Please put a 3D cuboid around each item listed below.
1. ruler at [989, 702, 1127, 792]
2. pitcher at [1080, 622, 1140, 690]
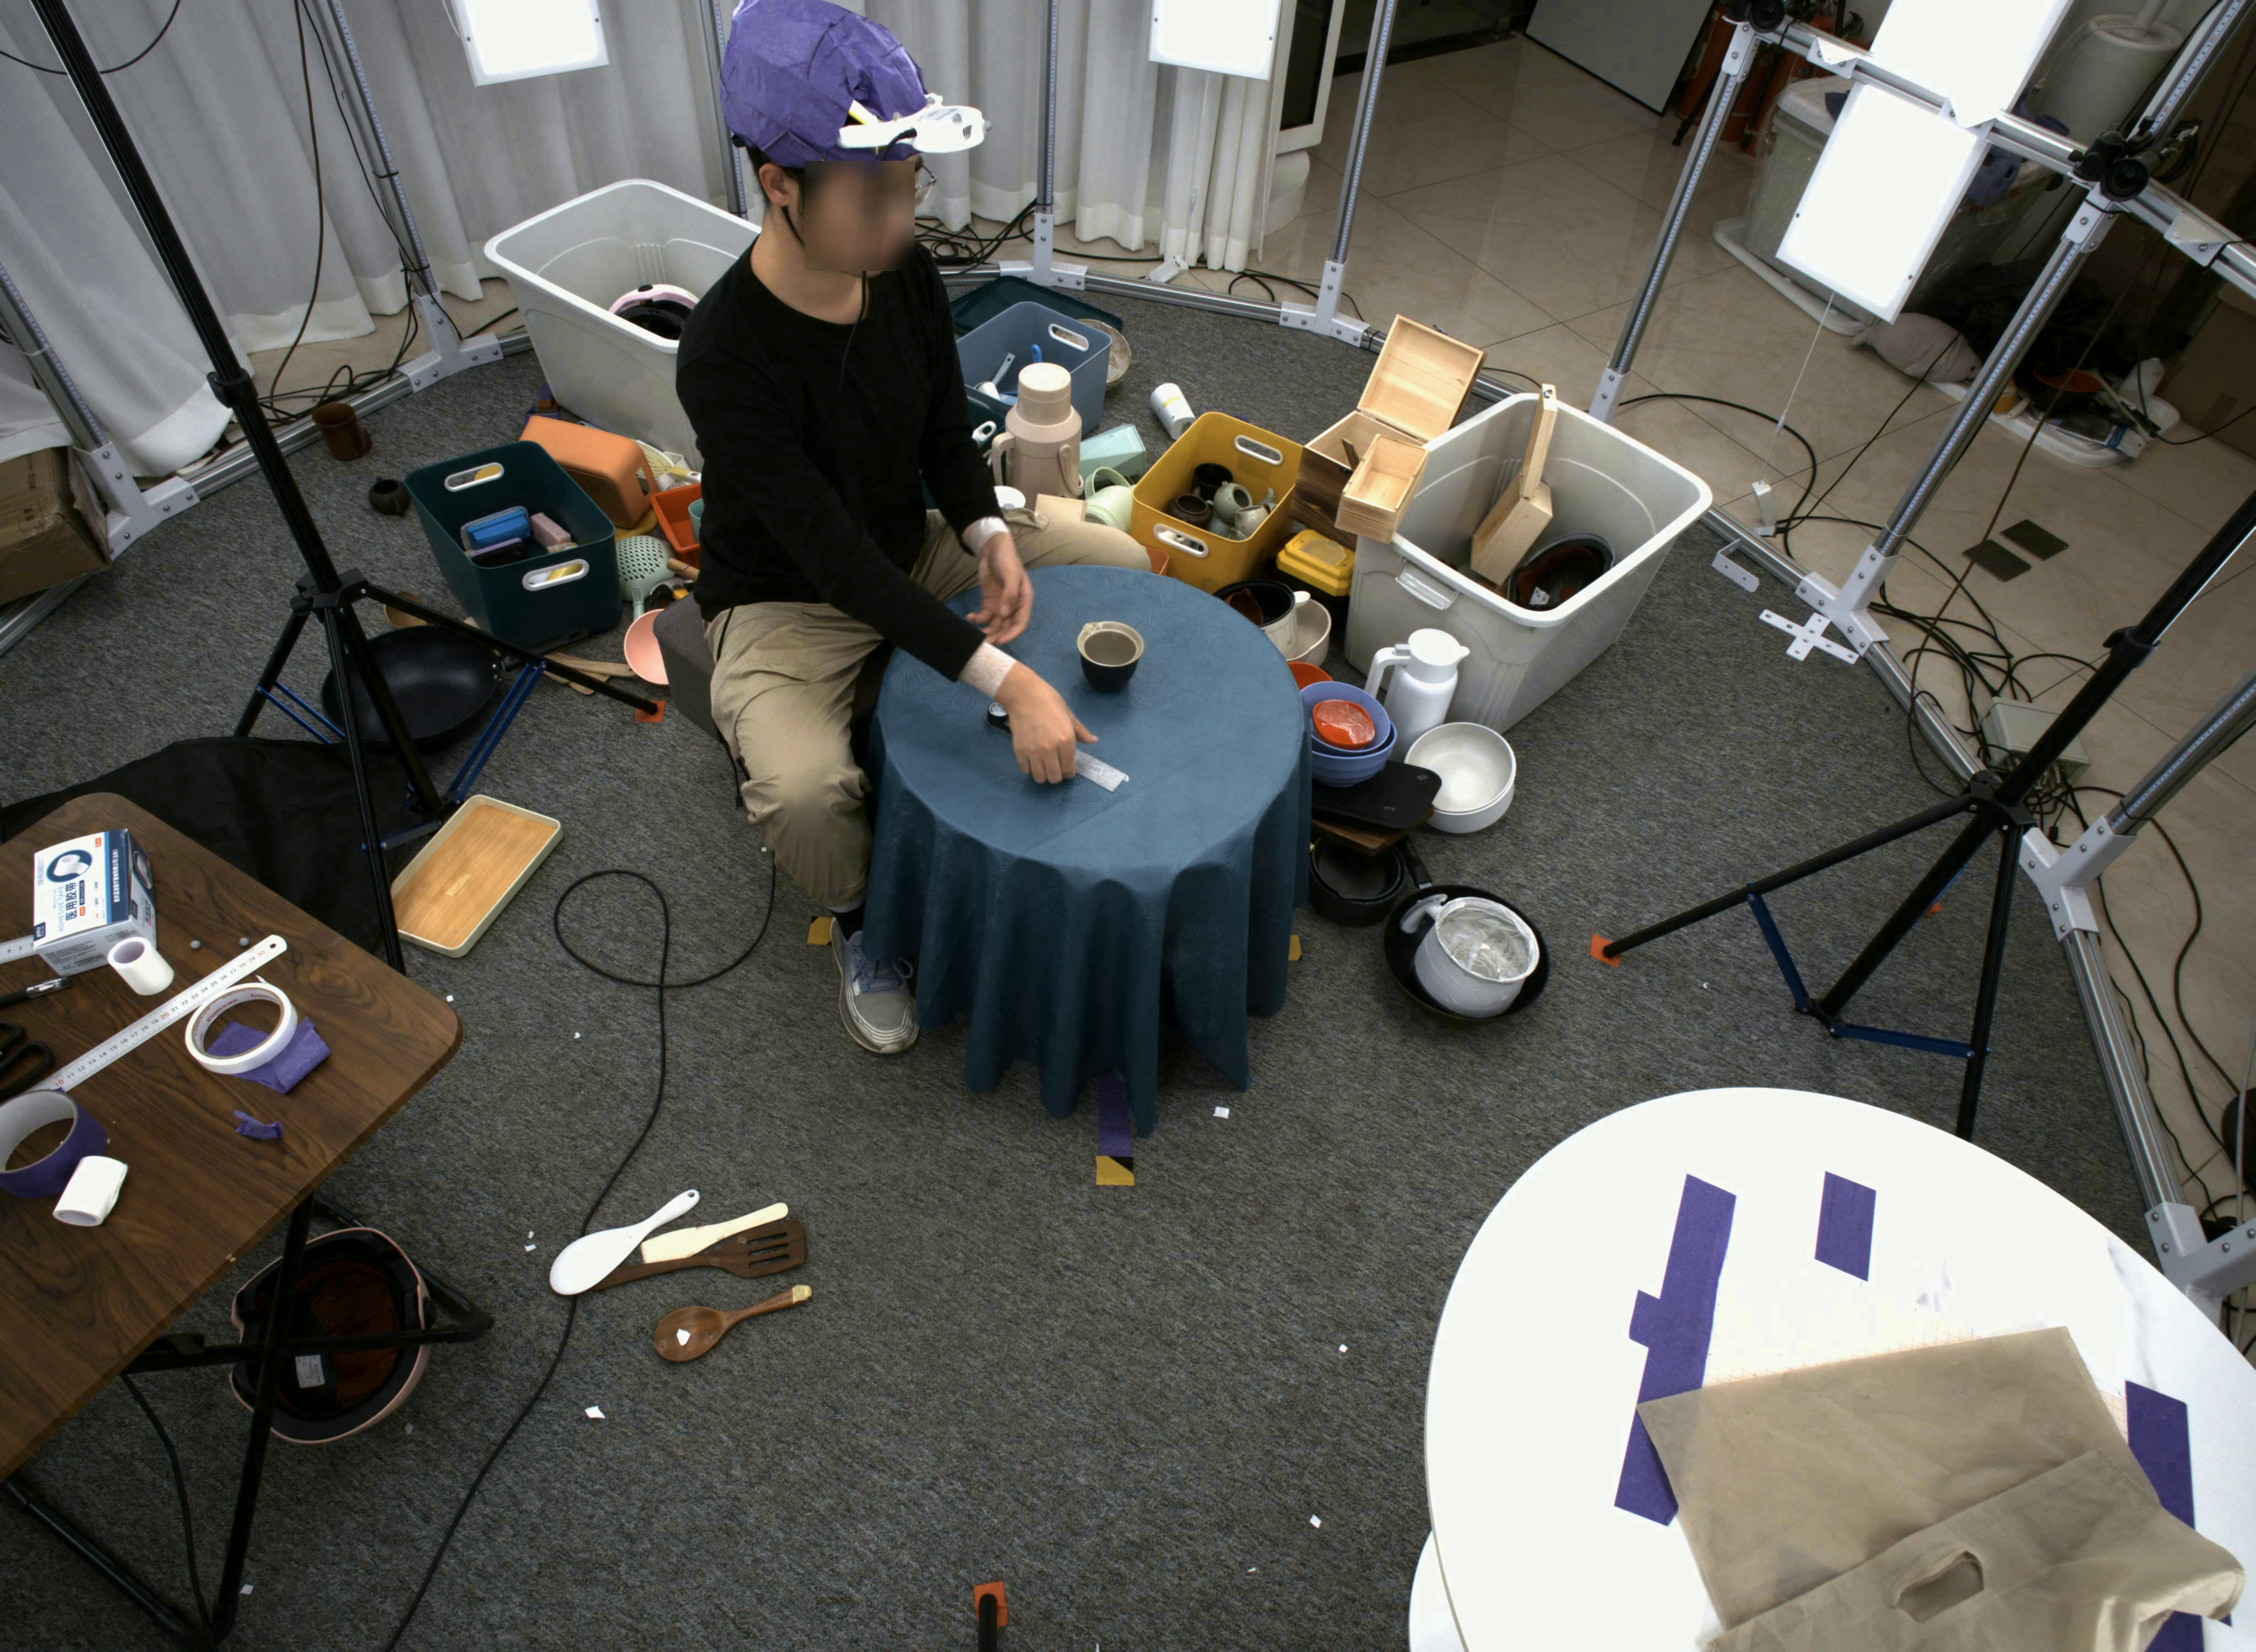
[{"bbox_3d":[-0.100,-0.111,1.746,0.220,0.023,0.039,29,61,21],"label":"ruler"},{"bbox_3d":[-0.030,-0.238,1.827,0.084,0.069,0.097,-31,59,-26],"label":"pitcher"}]
